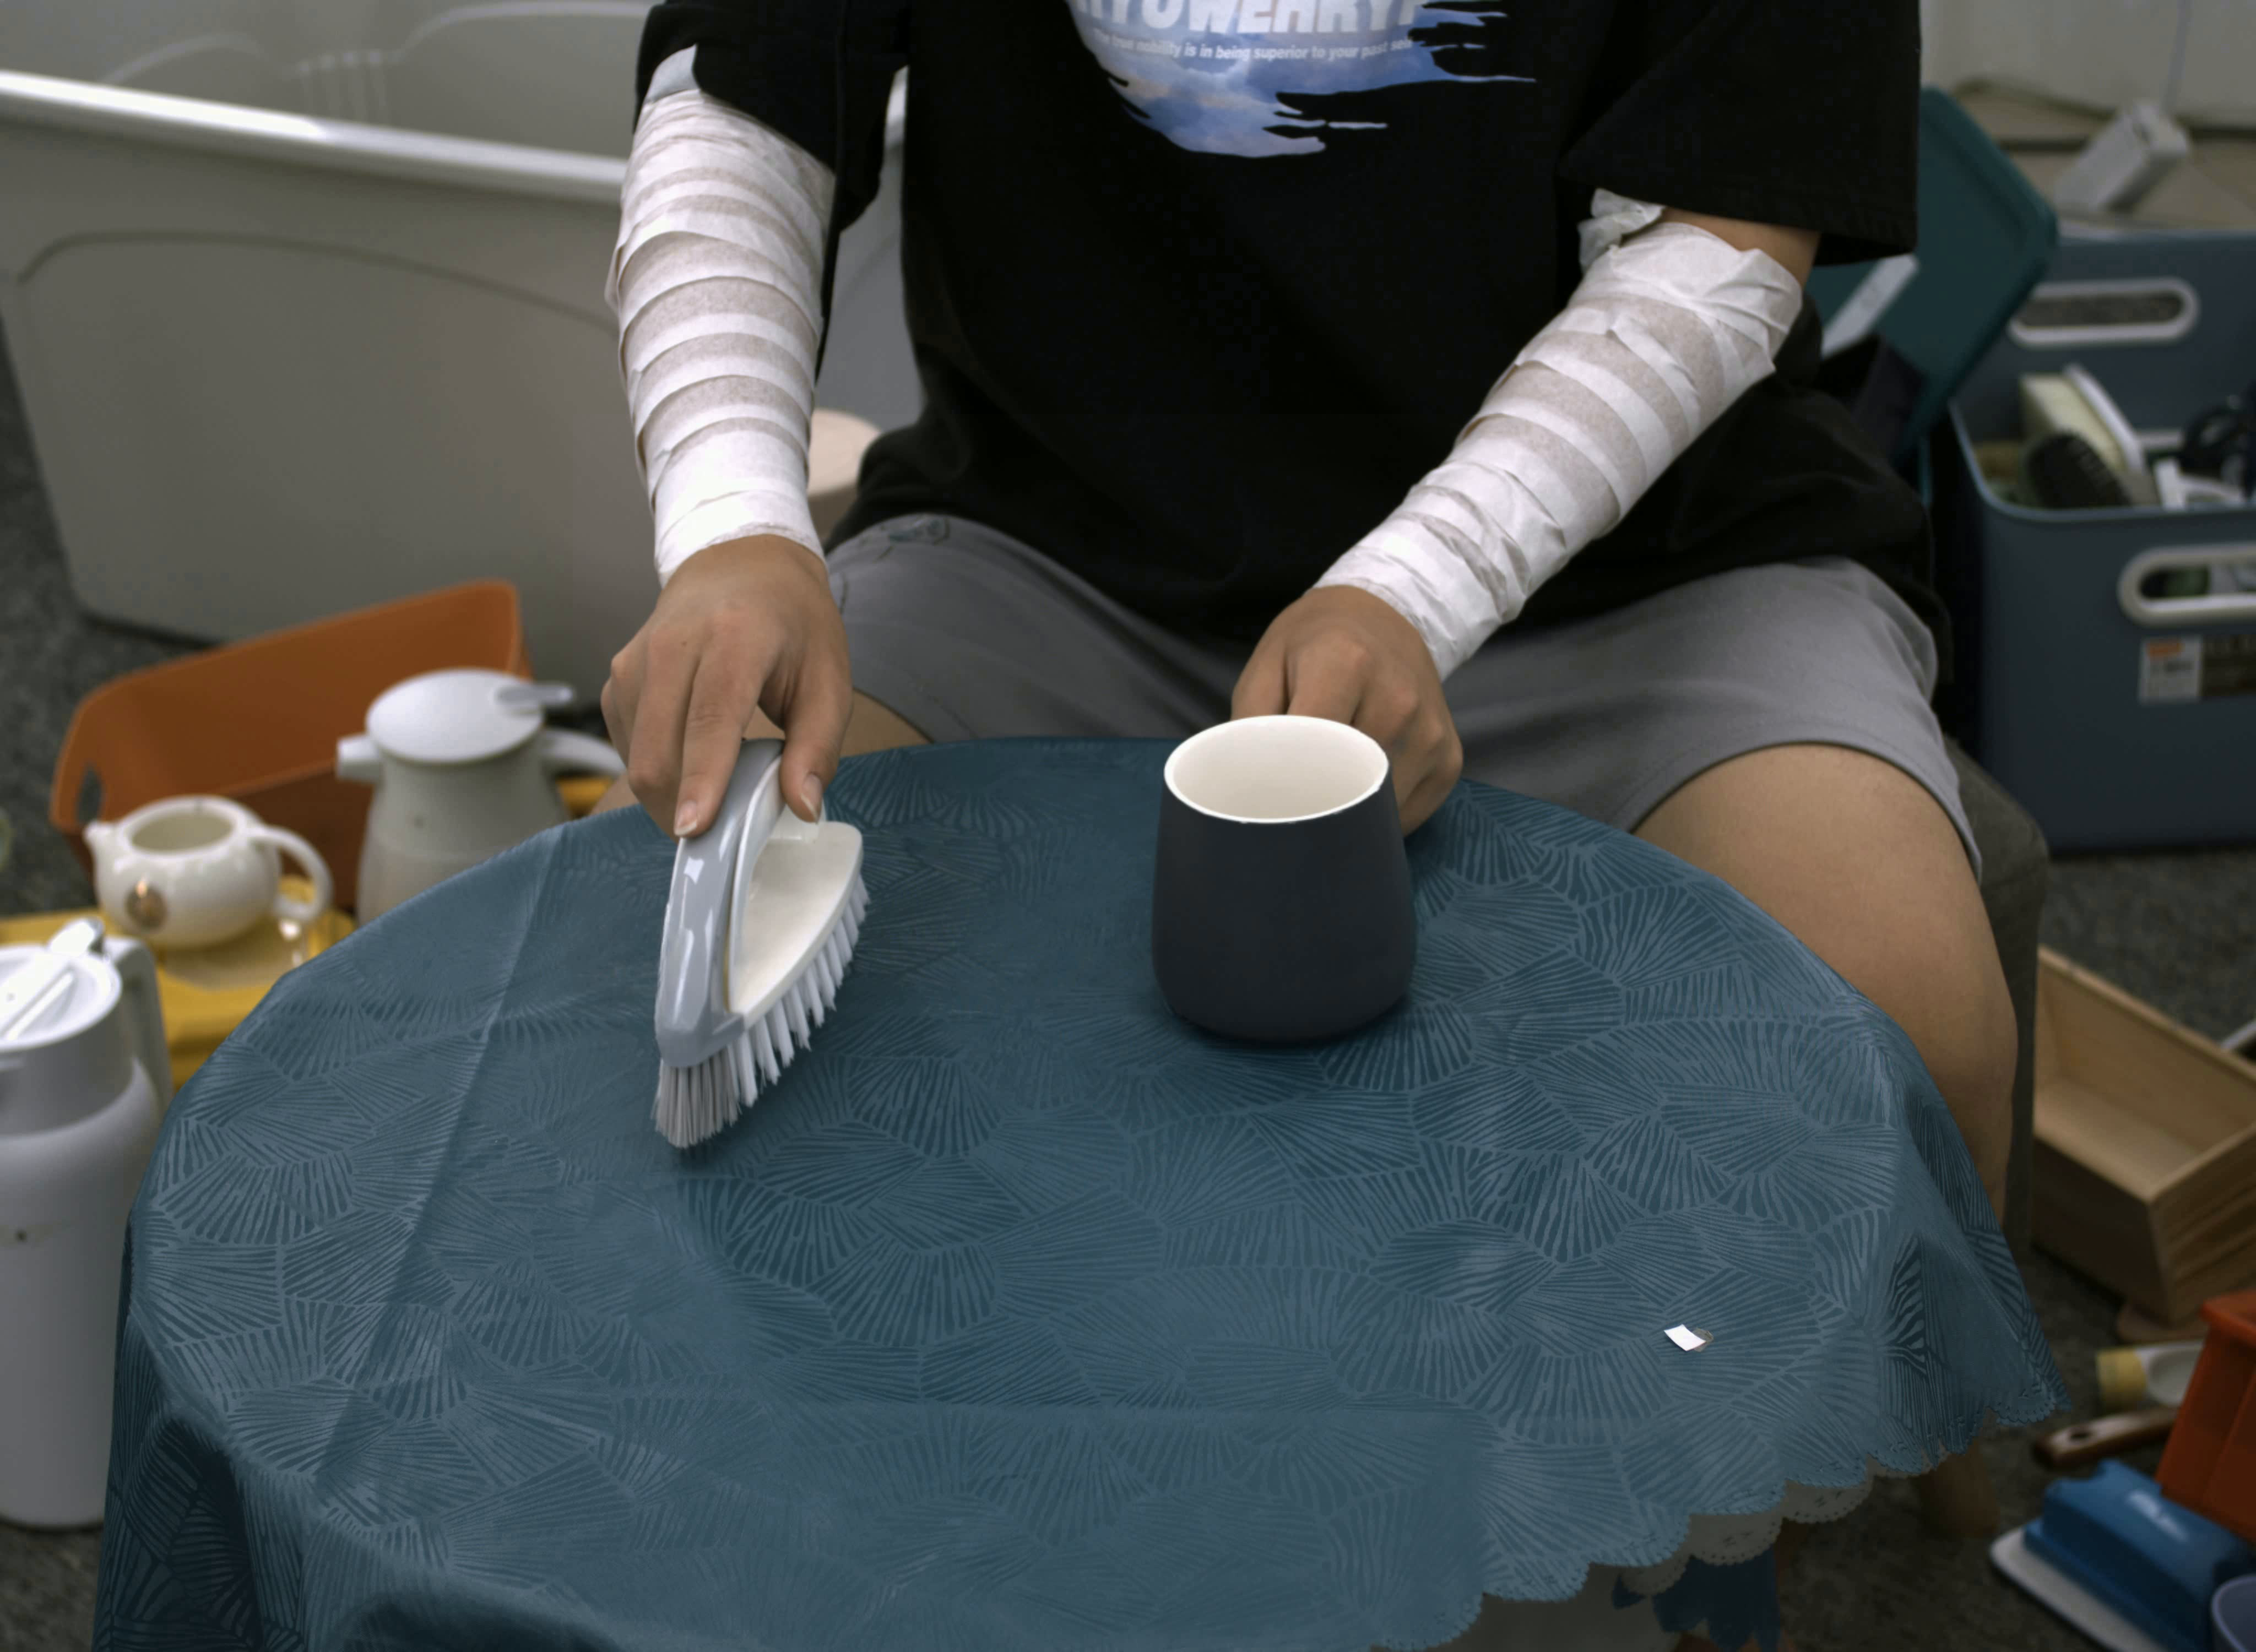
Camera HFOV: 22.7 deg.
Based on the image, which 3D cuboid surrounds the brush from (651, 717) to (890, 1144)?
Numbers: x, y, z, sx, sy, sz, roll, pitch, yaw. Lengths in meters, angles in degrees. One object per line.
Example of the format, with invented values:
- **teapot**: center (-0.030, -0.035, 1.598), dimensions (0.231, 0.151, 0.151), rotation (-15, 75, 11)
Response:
- **brush**: center (-0.133, 0.028, 1.937), dimensions (0.061, 0.093, 0.179), rotation (1, 31, 15)

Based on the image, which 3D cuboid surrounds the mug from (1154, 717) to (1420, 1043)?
- **mug**: center (0.053, 0.012, 1.971), dimensions (0.093, 0.089, 0.125), rotation (-5, 27, -1)
